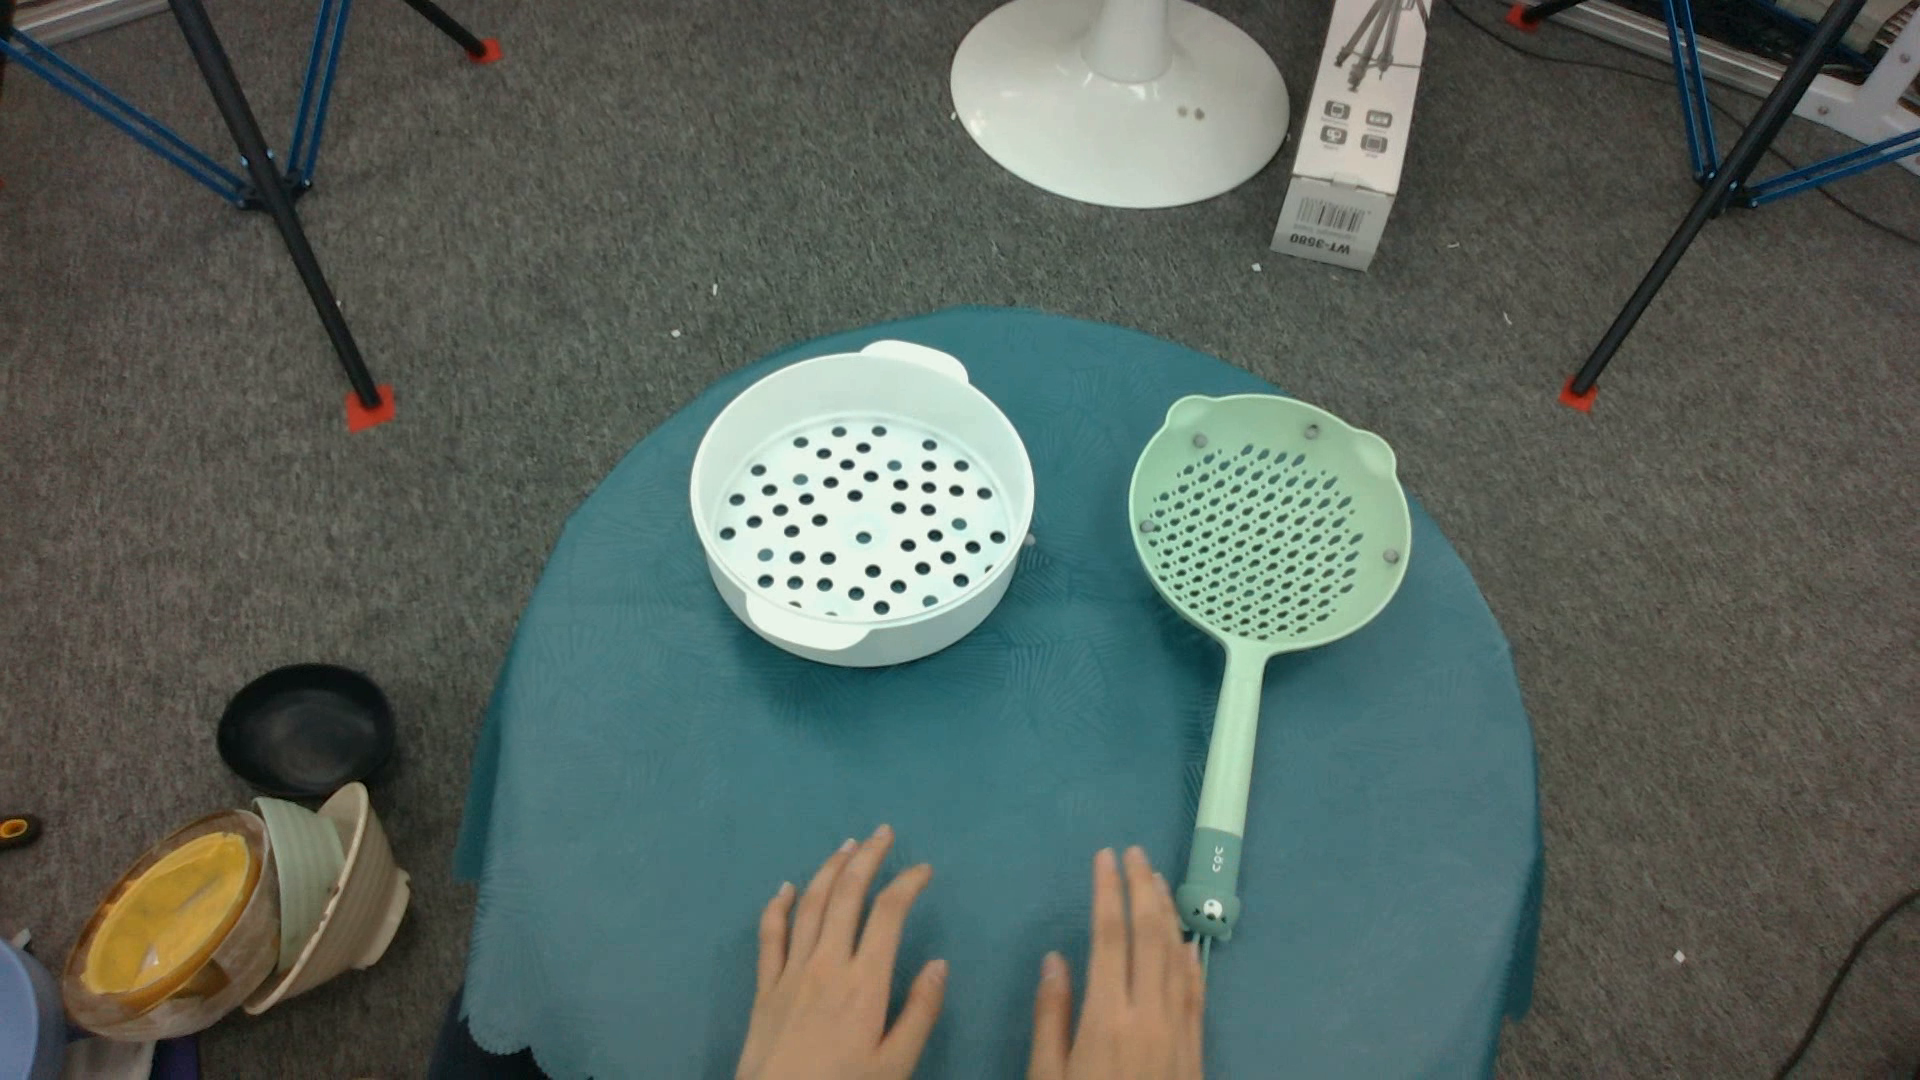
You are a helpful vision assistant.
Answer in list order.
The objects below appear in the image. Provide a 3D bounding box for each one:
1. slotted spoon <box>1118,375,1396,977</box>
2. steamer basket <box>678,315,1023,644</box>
[{"bbox_3d":[0.154,0.064,0.788,0.169,0.075,0.360,14,56,2],"label":"slotted spoon"},{"bbox_3d":[-0.065,-0.032,0.832,0.202,0.069,0.231,15,56,5],"label":"steamer basket"}]
